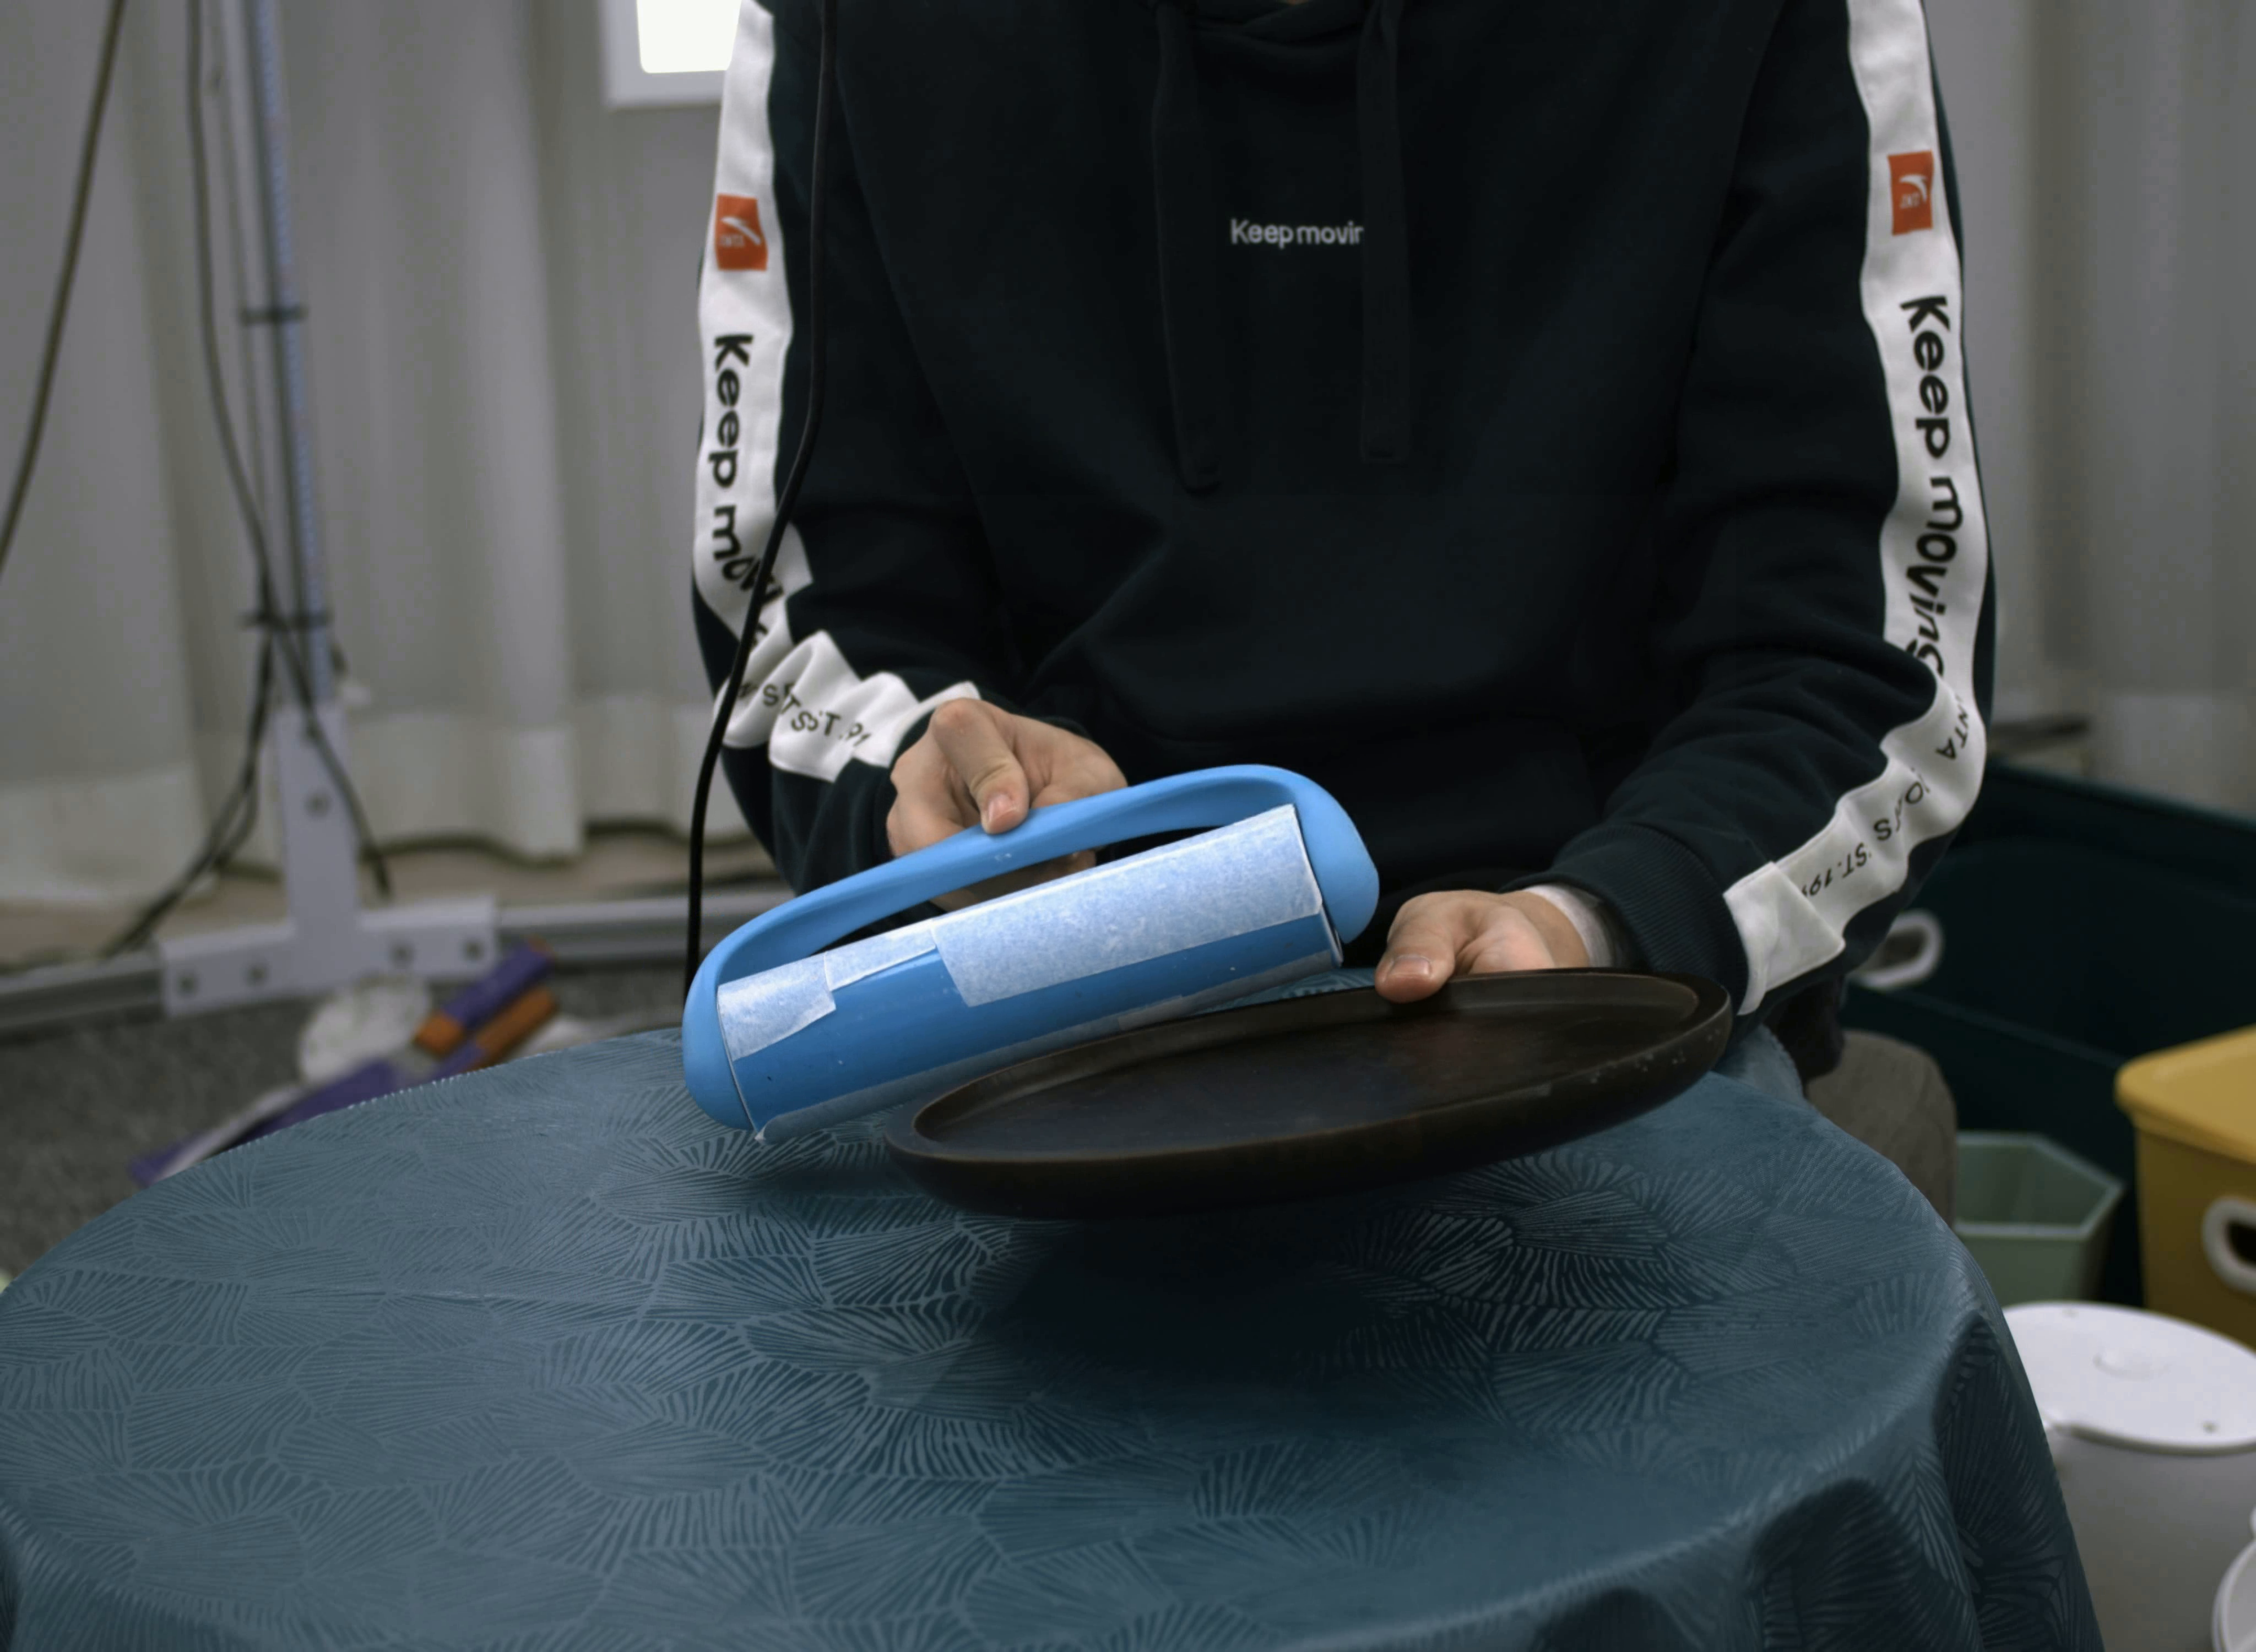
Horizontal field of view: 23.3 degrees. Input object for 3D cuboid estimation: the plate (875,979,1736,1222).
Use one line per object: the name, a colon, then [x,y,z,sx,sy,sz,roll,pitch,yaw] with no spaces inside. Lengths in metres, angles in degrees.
plate: [0.053,0.078,1.601,0.254,0.029,0.255,-8,7,1]

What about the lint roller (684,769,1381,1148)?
lint roller: [-0.035,0.029,1.782,0.228,0.067,0.182,-20,17,2]
